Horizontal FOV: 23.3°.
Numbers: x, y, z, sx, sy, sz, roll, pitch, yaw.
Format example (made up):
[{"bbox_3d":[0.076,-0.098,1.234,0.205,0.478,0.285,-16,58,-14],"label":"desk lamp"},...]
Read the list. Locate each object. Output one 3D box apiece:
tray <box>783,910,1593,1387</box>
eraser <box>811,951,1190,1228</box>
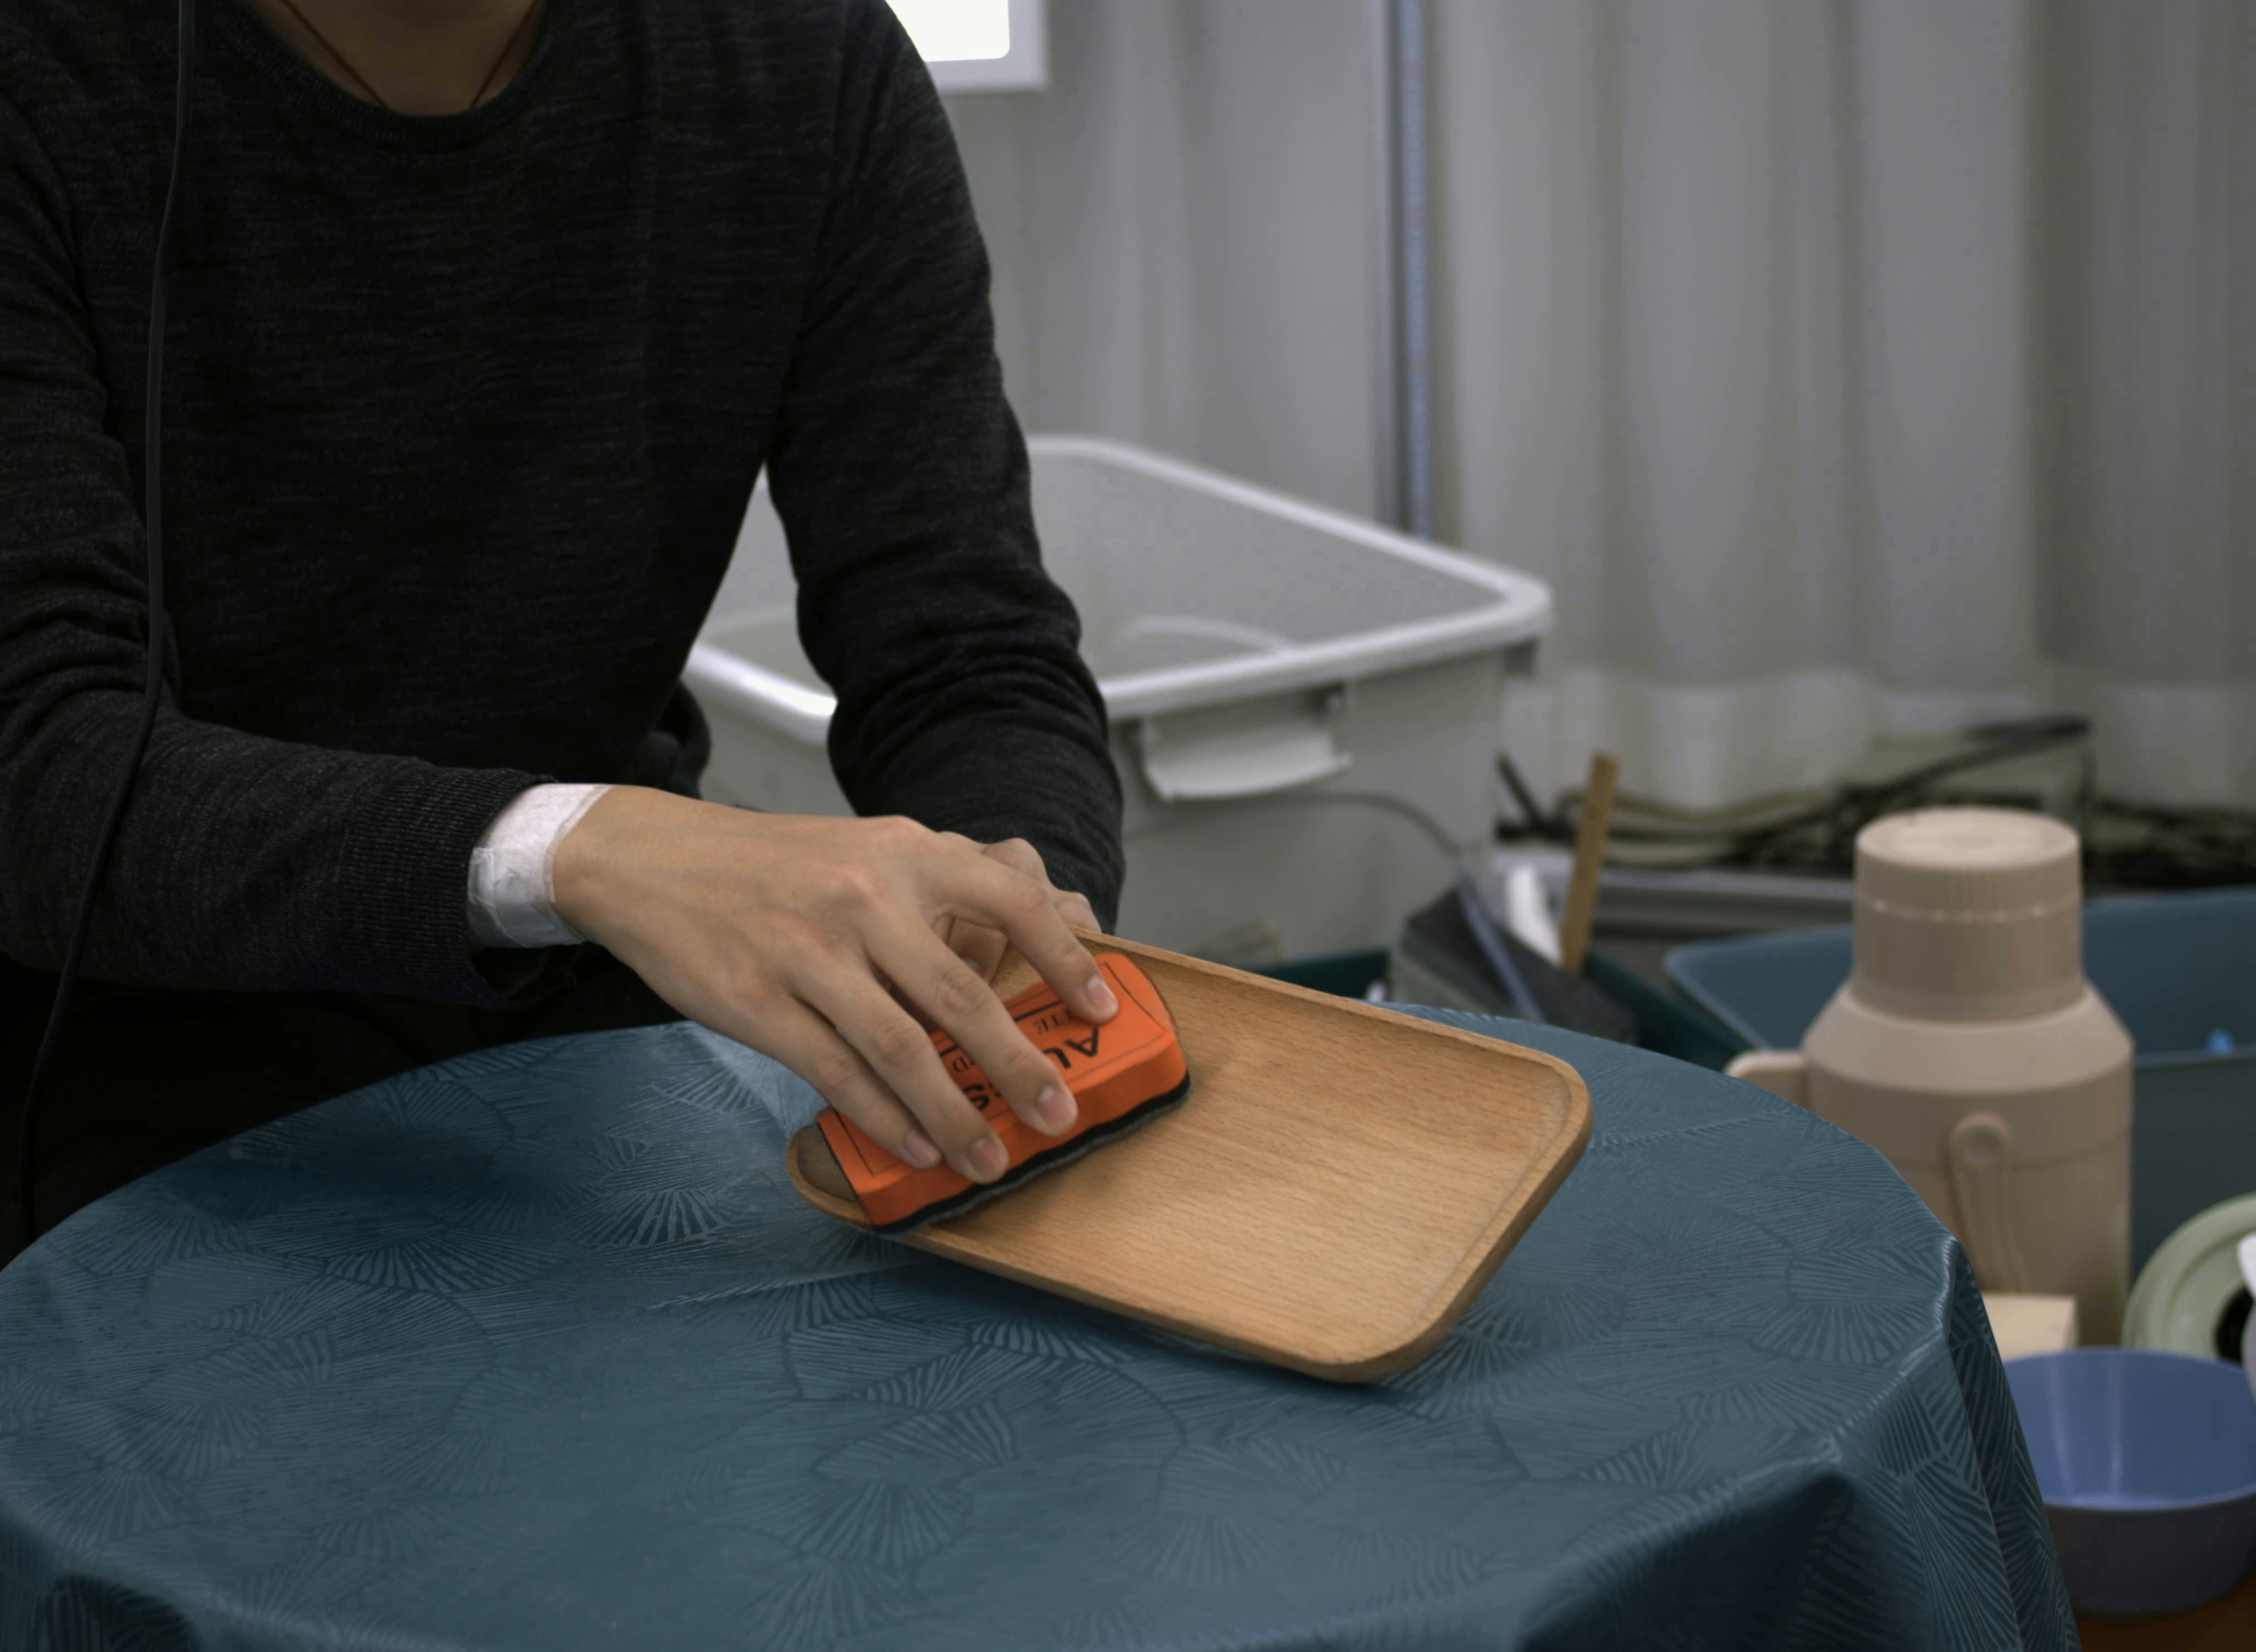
[{"bbox_3d":[0.016,0.094,1.629,0.252,0.022,0.131,15,49,40],"label":"tray"},{"bbox_3d":[-0.039,0.079,1.653,0.108,0.022,0.060,-25,33,-6],"label":"eraser"}]
